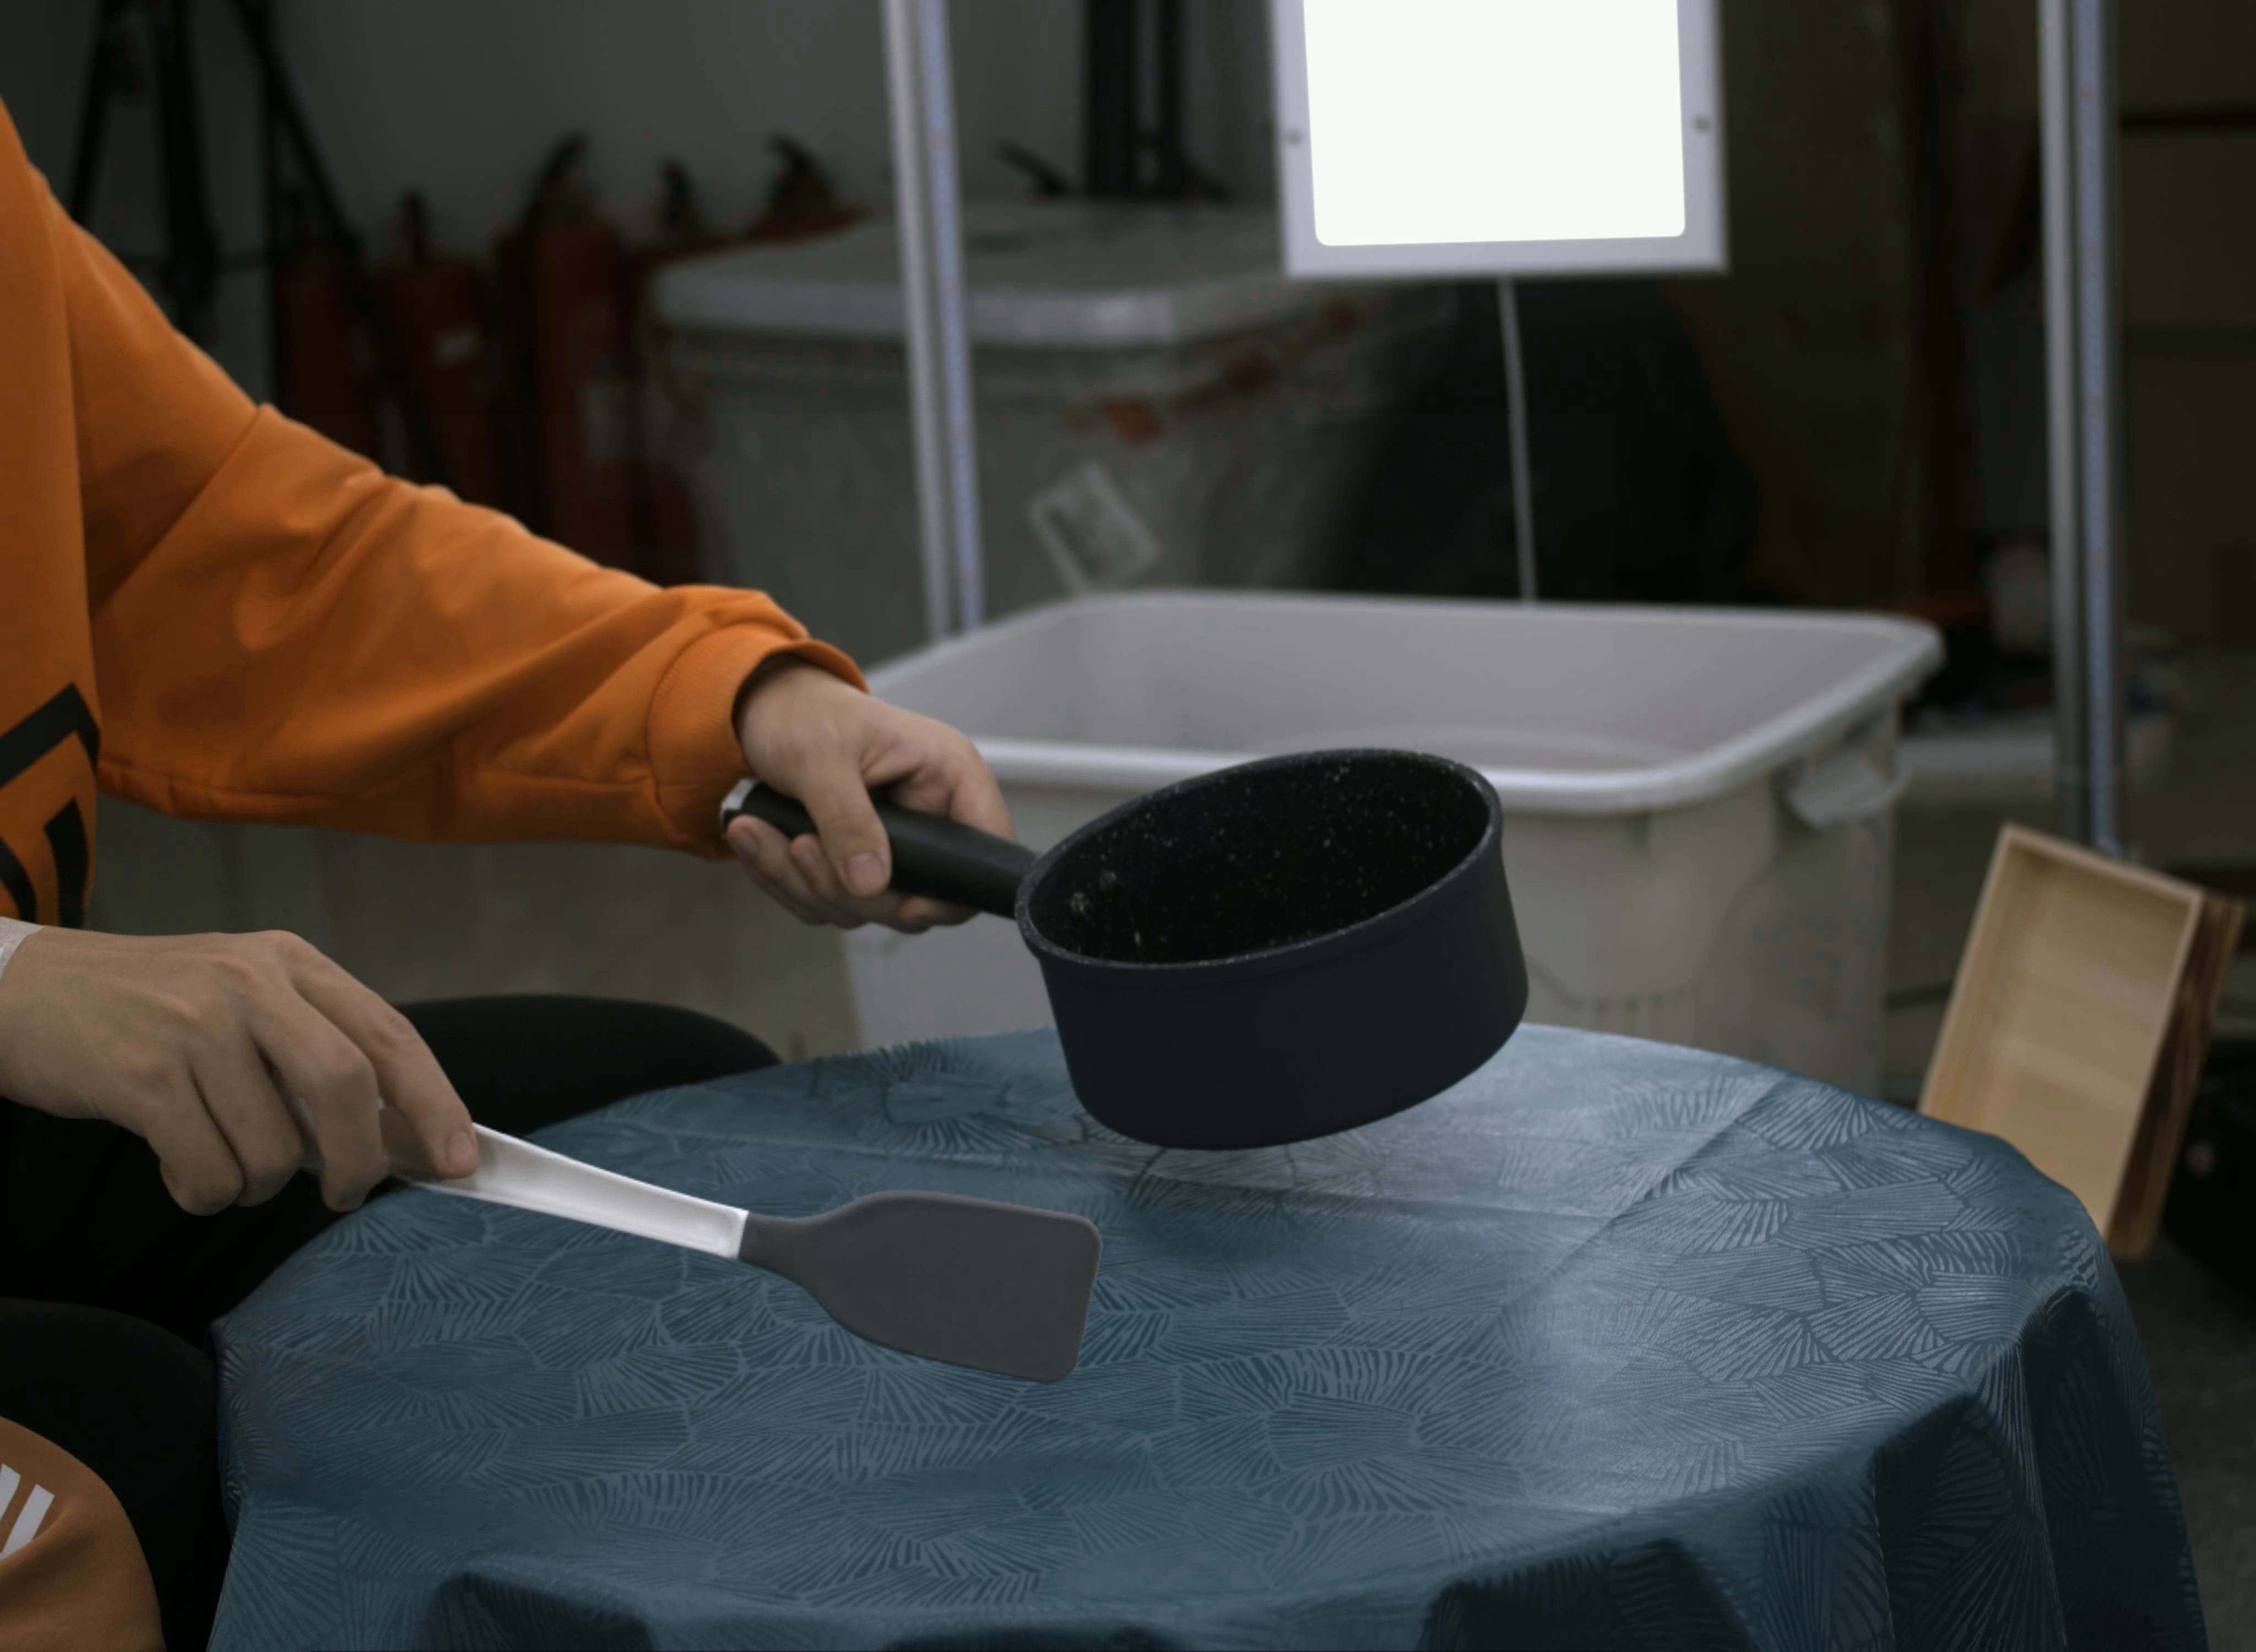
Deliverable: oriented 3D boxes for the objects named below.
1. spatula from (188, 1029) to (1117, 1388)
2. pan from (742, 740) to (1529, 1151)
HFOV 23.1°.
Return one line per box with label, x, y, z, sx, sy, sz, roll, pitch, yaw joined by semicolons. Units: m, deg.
spatula;-0.146;0.112;1.675;0.289;0.059;0.032;14;3;10
pan;-0.007;0.032;1.950;0.336;0.086;0.168;8;30;42
